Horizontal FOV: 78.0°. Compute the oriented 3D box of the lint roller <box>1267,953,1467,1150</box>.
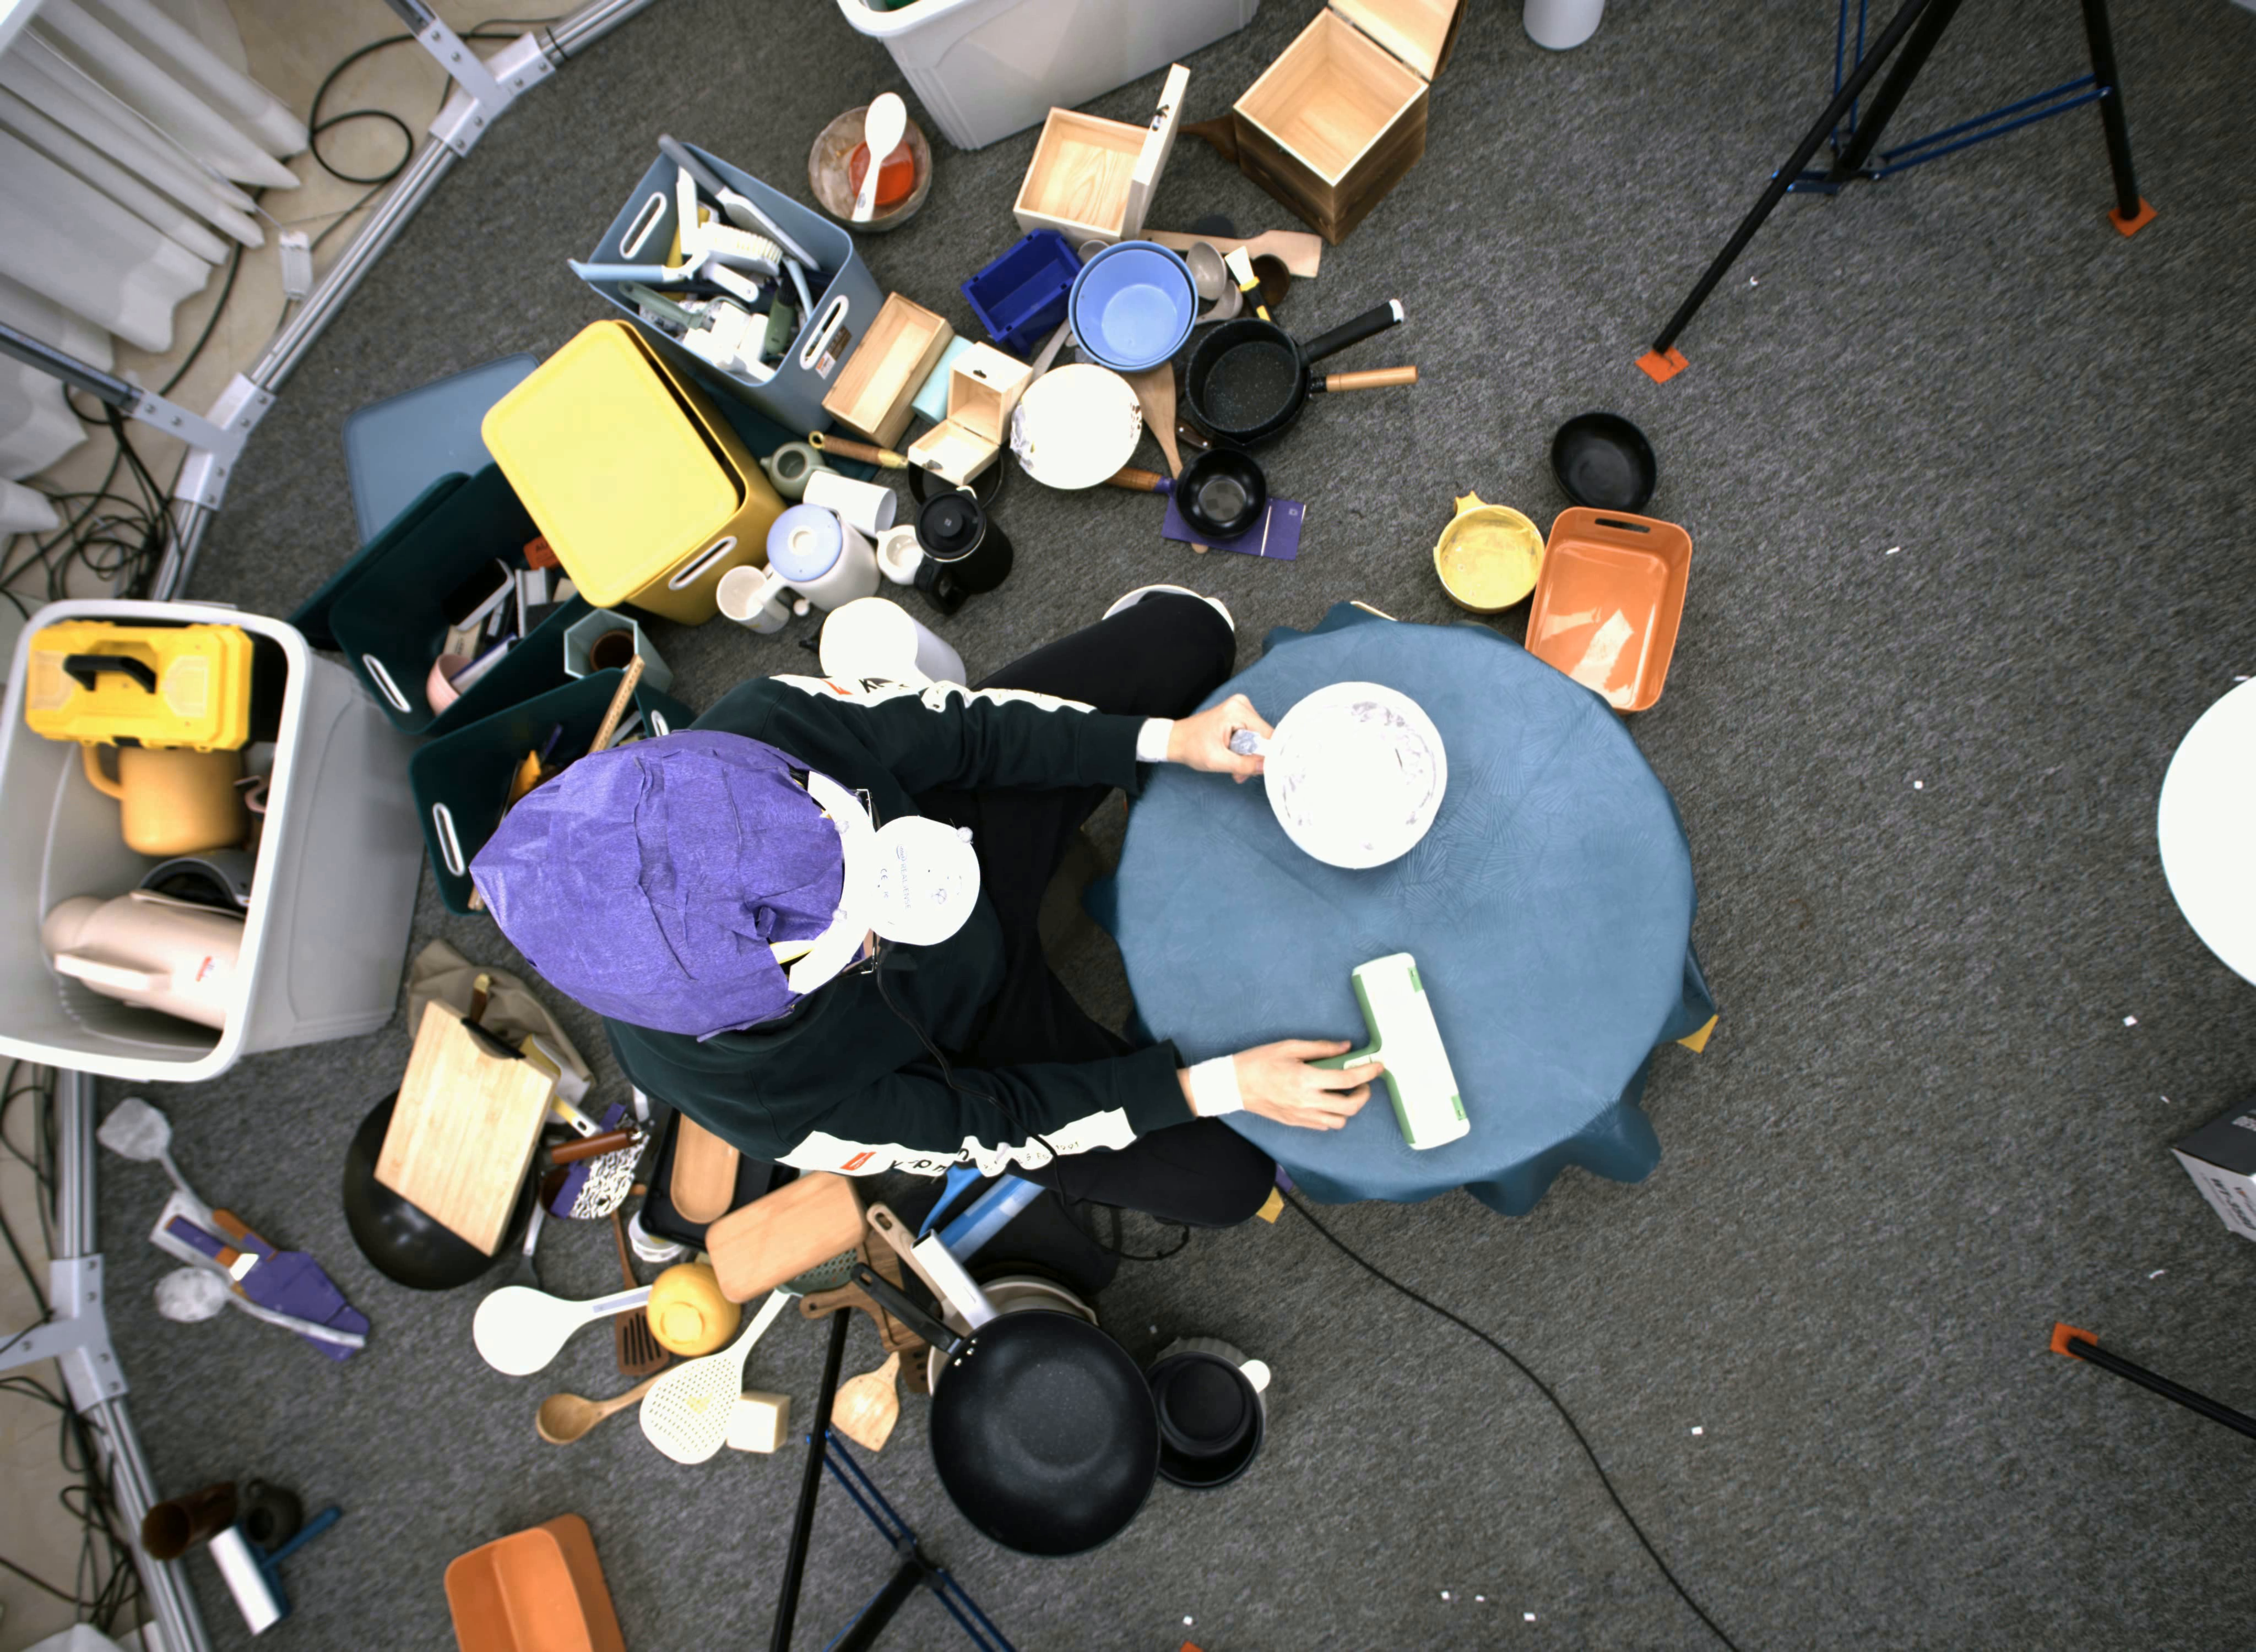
[{"bbox_3d":[0.231,0.246,1.416,0.184,0.082,0.197,-18,84,4],"label":"lint roller"}]

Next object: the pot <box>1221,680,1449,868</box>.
[{"bbox_3d":[0.205,-0.057,1.403,0.234,0.137,0.178,16,88,10],"label":"pot"}]
